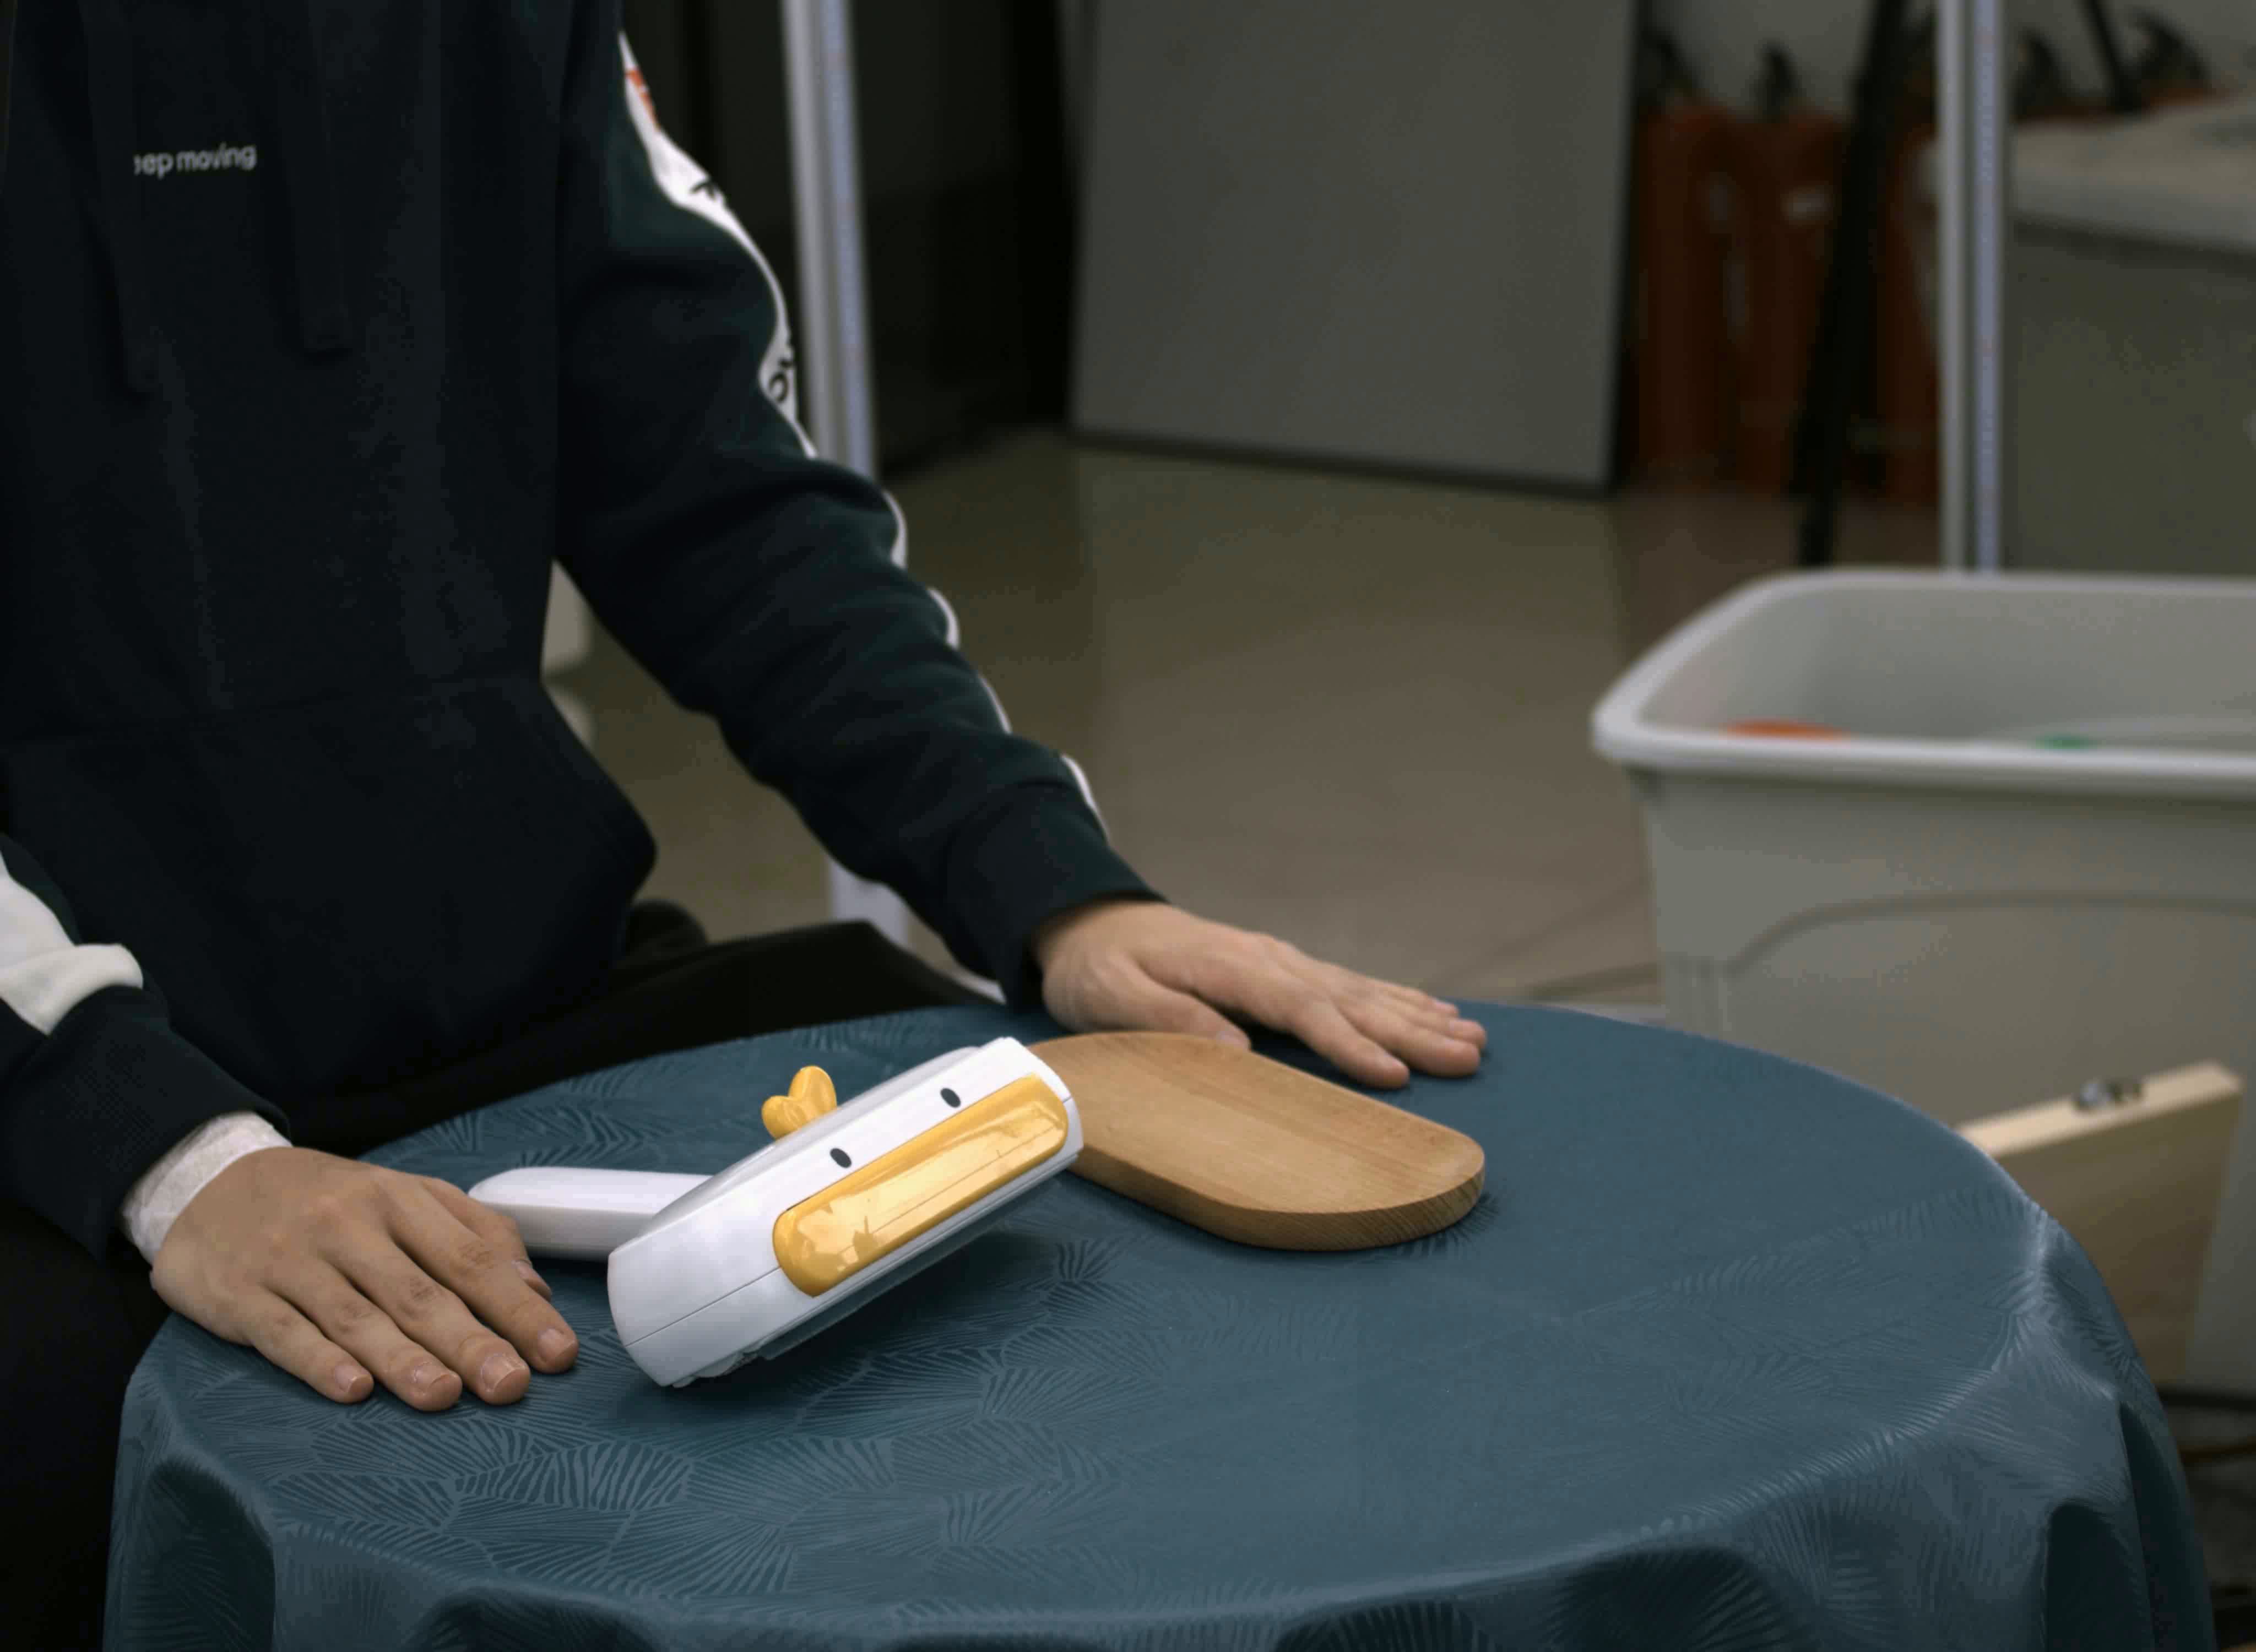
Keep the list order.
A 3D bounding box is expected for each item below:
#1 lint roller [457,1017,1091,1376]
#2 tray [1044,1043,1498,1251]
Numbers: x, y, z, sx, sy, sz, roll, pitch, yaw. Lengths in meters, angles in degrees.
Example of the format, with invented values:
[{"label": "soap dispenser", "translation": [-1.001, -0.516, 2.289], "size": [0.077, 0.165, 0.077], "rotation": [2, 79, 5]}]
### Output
[{"label": "lint roller", "translation": [-0.129, 0.123, 1.703], "size": [0.193, 0.074, 0.190], "rotation": [-18, 10, 35]}, {"label": "tray", "translation": [0.034, 0.105, 1.792], "size": [0.099, 0.020, 0.233], "rotation": [-14, 18, -31]}]
